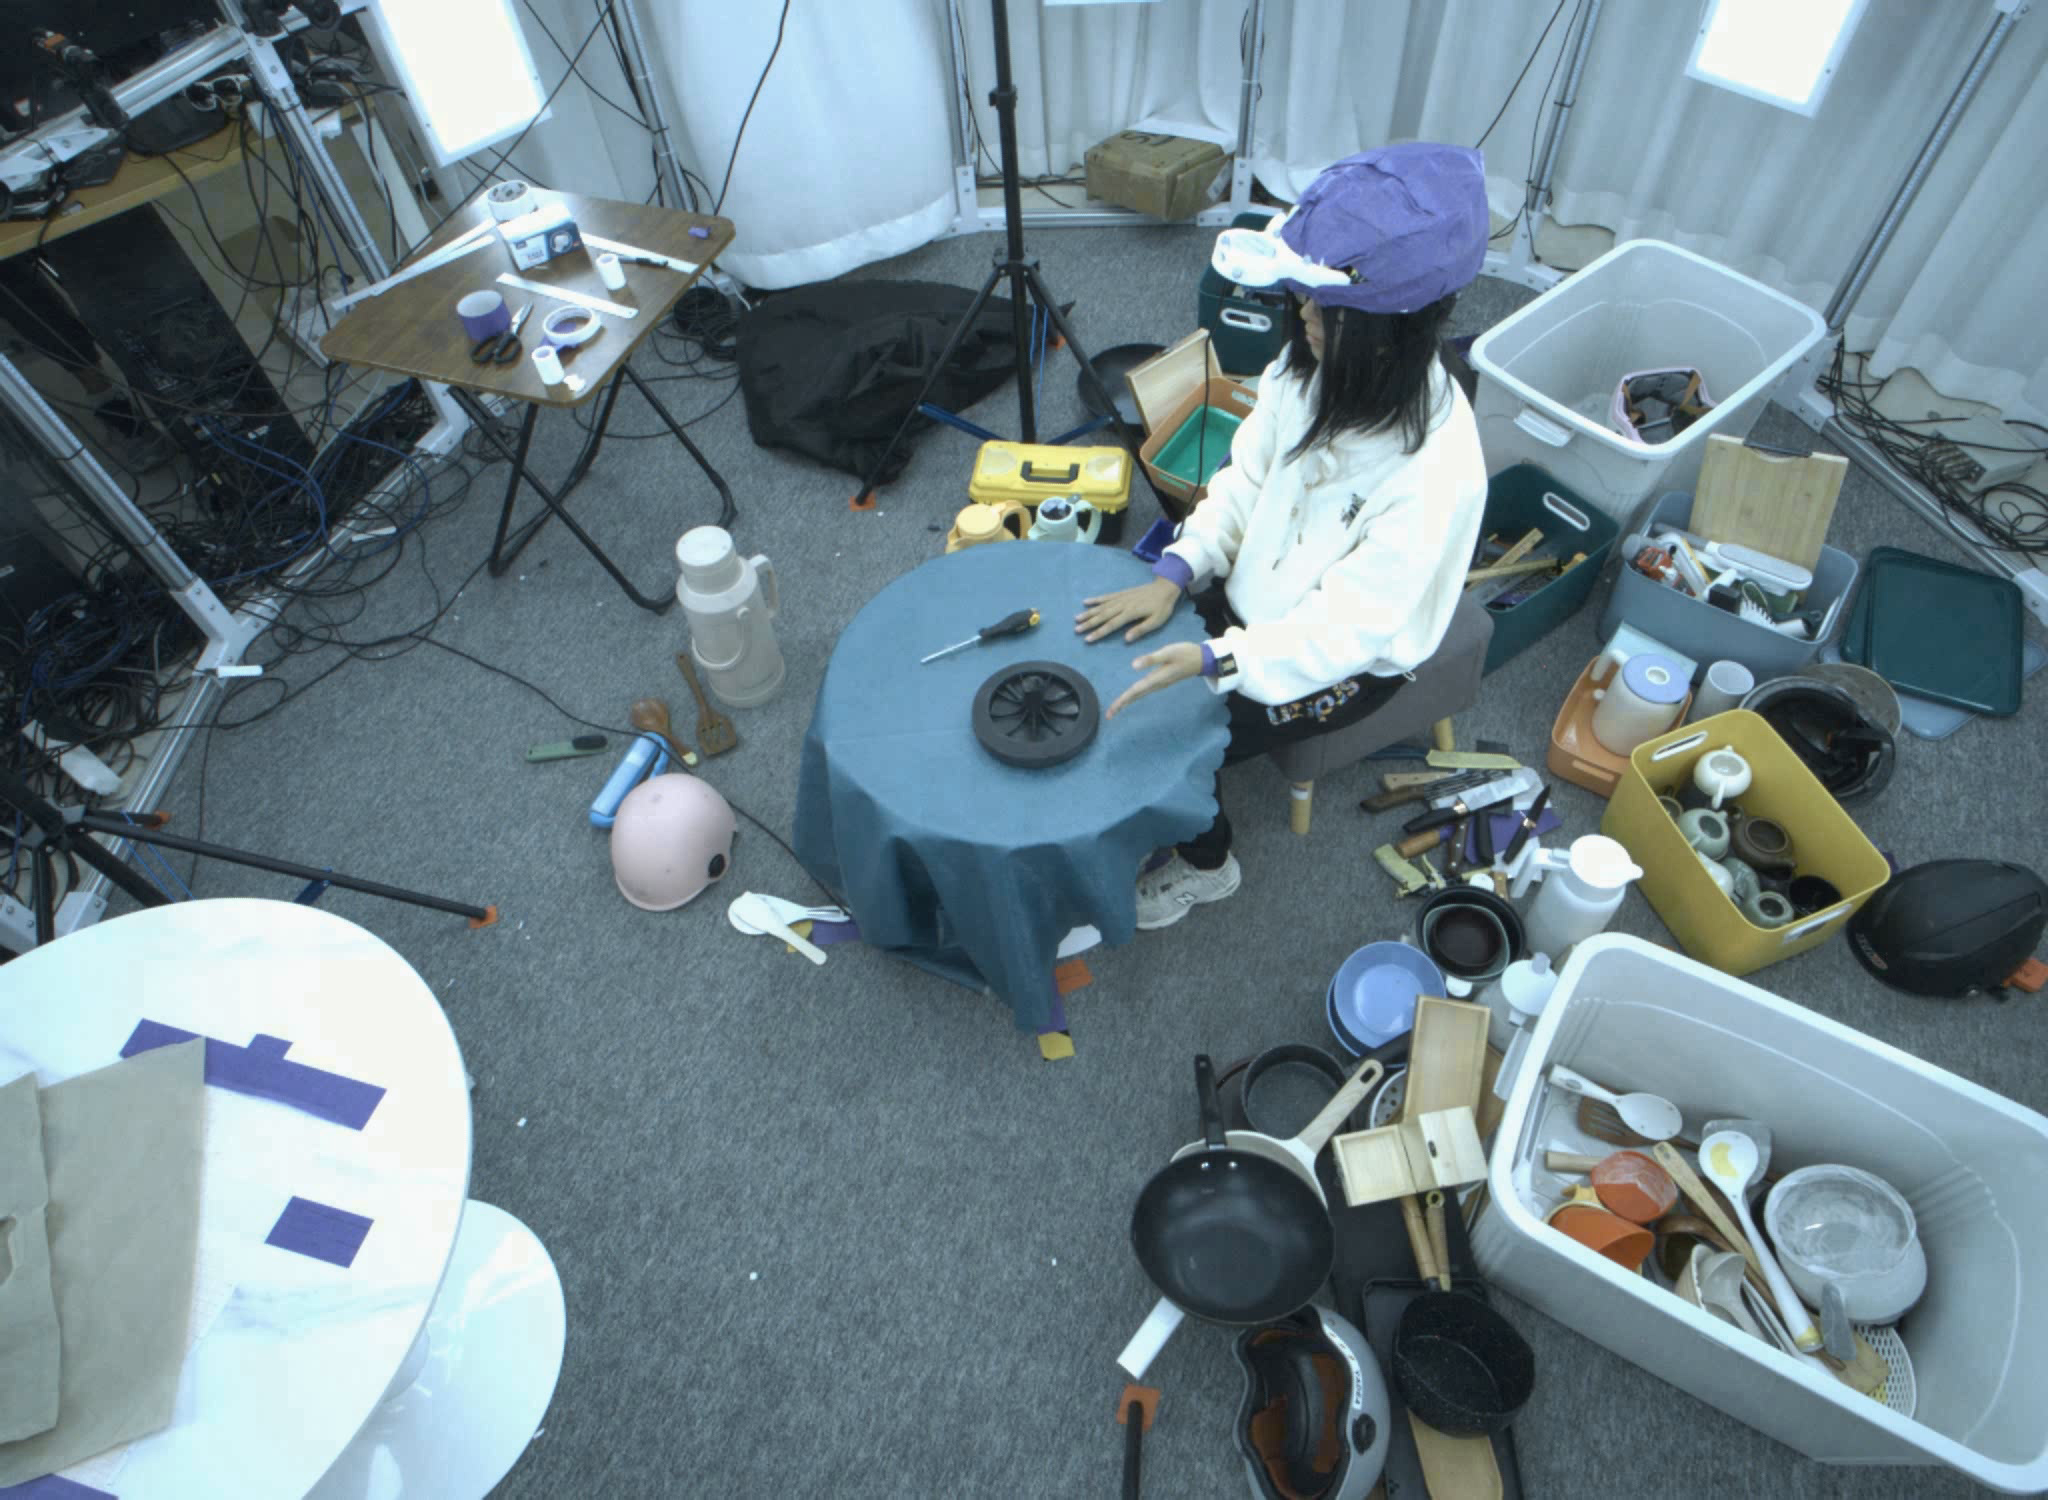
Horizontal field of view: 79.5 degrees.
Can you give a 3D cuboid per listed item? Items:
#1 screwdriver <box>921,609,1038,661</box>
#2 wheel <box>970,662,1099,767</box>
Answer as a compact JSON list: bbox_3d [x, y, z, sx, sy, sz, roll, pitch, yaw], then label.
[{"bbox_3d":[-0.068,-0.173,1.897,0.197,0.032,0.031,-24,57,-12],"label":"screwdriver"},{"bbox_3d":[0.014,-0.067,1.790,0.187,0.080,0.188,21,57,18],"label":"wheel"}]
